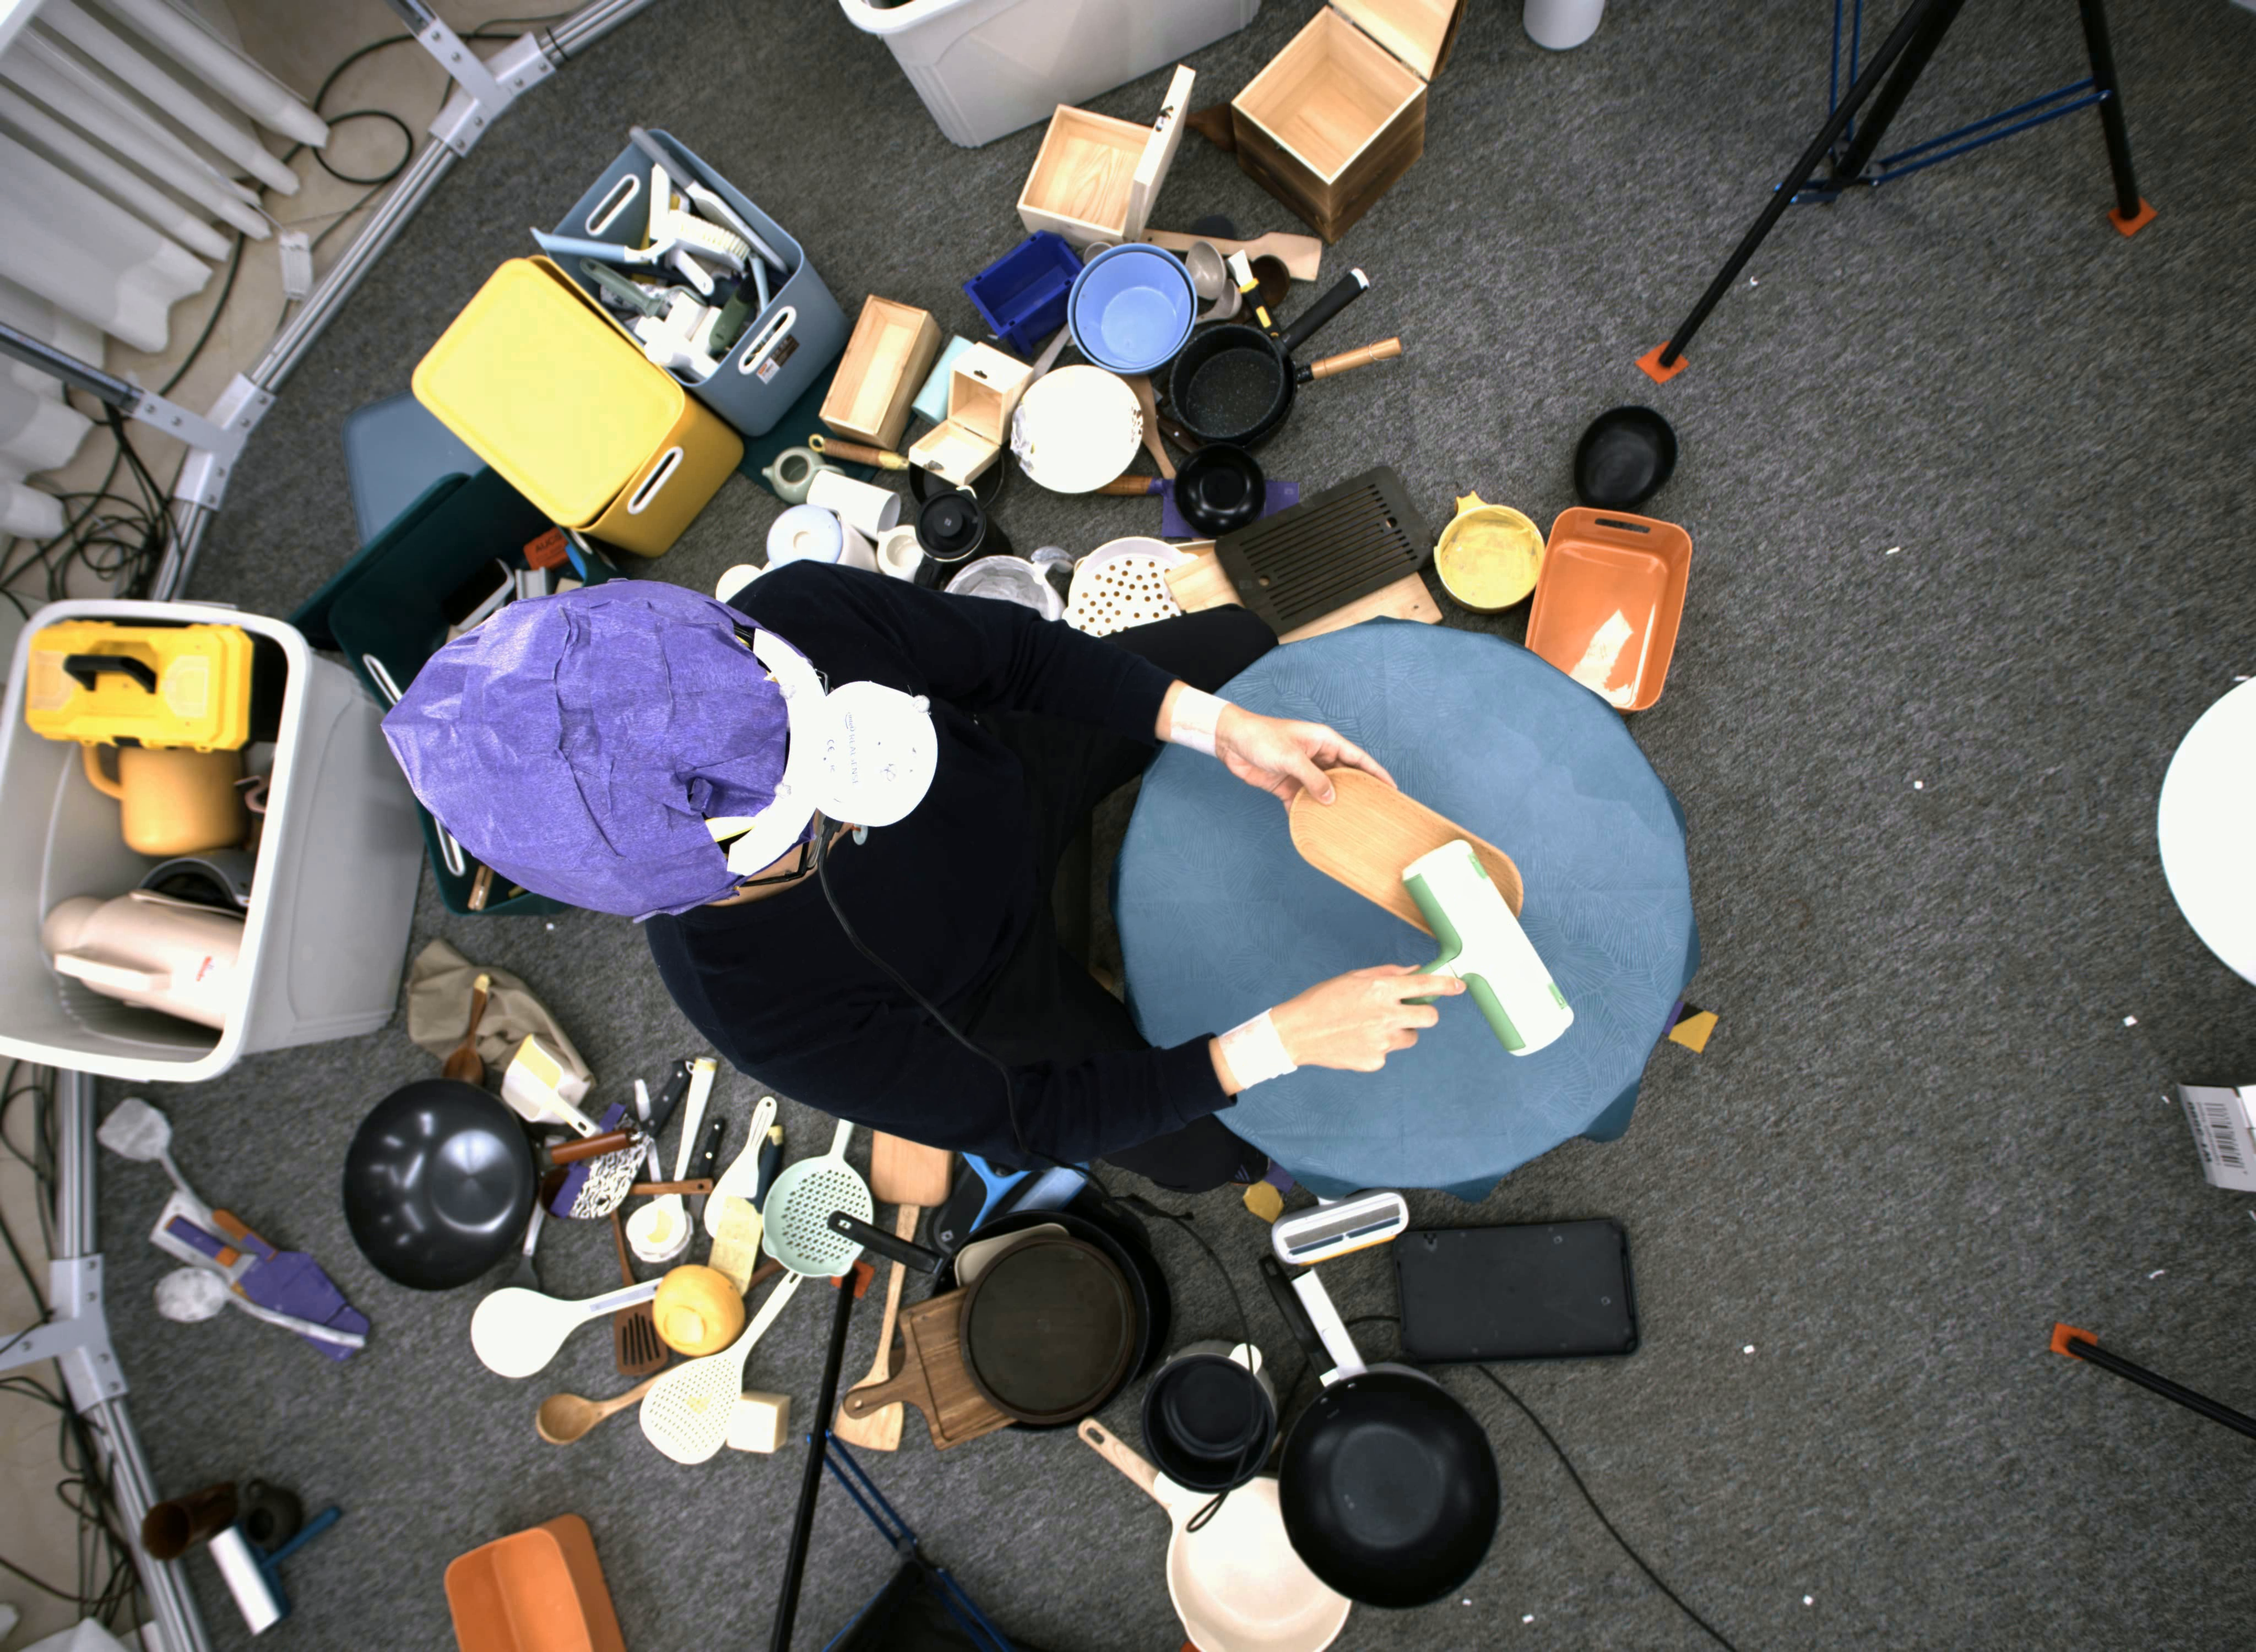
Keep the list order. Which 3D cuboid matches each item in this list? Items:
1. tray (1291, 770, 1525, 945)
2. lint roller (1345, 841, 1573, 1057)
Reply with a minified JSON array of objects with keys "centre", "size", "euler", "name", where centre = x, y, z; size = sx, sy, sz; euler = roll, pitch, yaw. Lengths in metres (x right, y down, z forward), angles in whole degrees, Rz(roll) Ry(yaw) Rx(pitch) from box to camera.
[{"centre":[0.257,0.031,1.275],"size":[0.231,0.020,0.102],"euler":[30,98,6],"name":"tray"},{"centre":[0.276,0.135,1.213],"size":[0.181,0.083,0.198],"euler":[-30,88,-15],"name":"lint roller"}]
